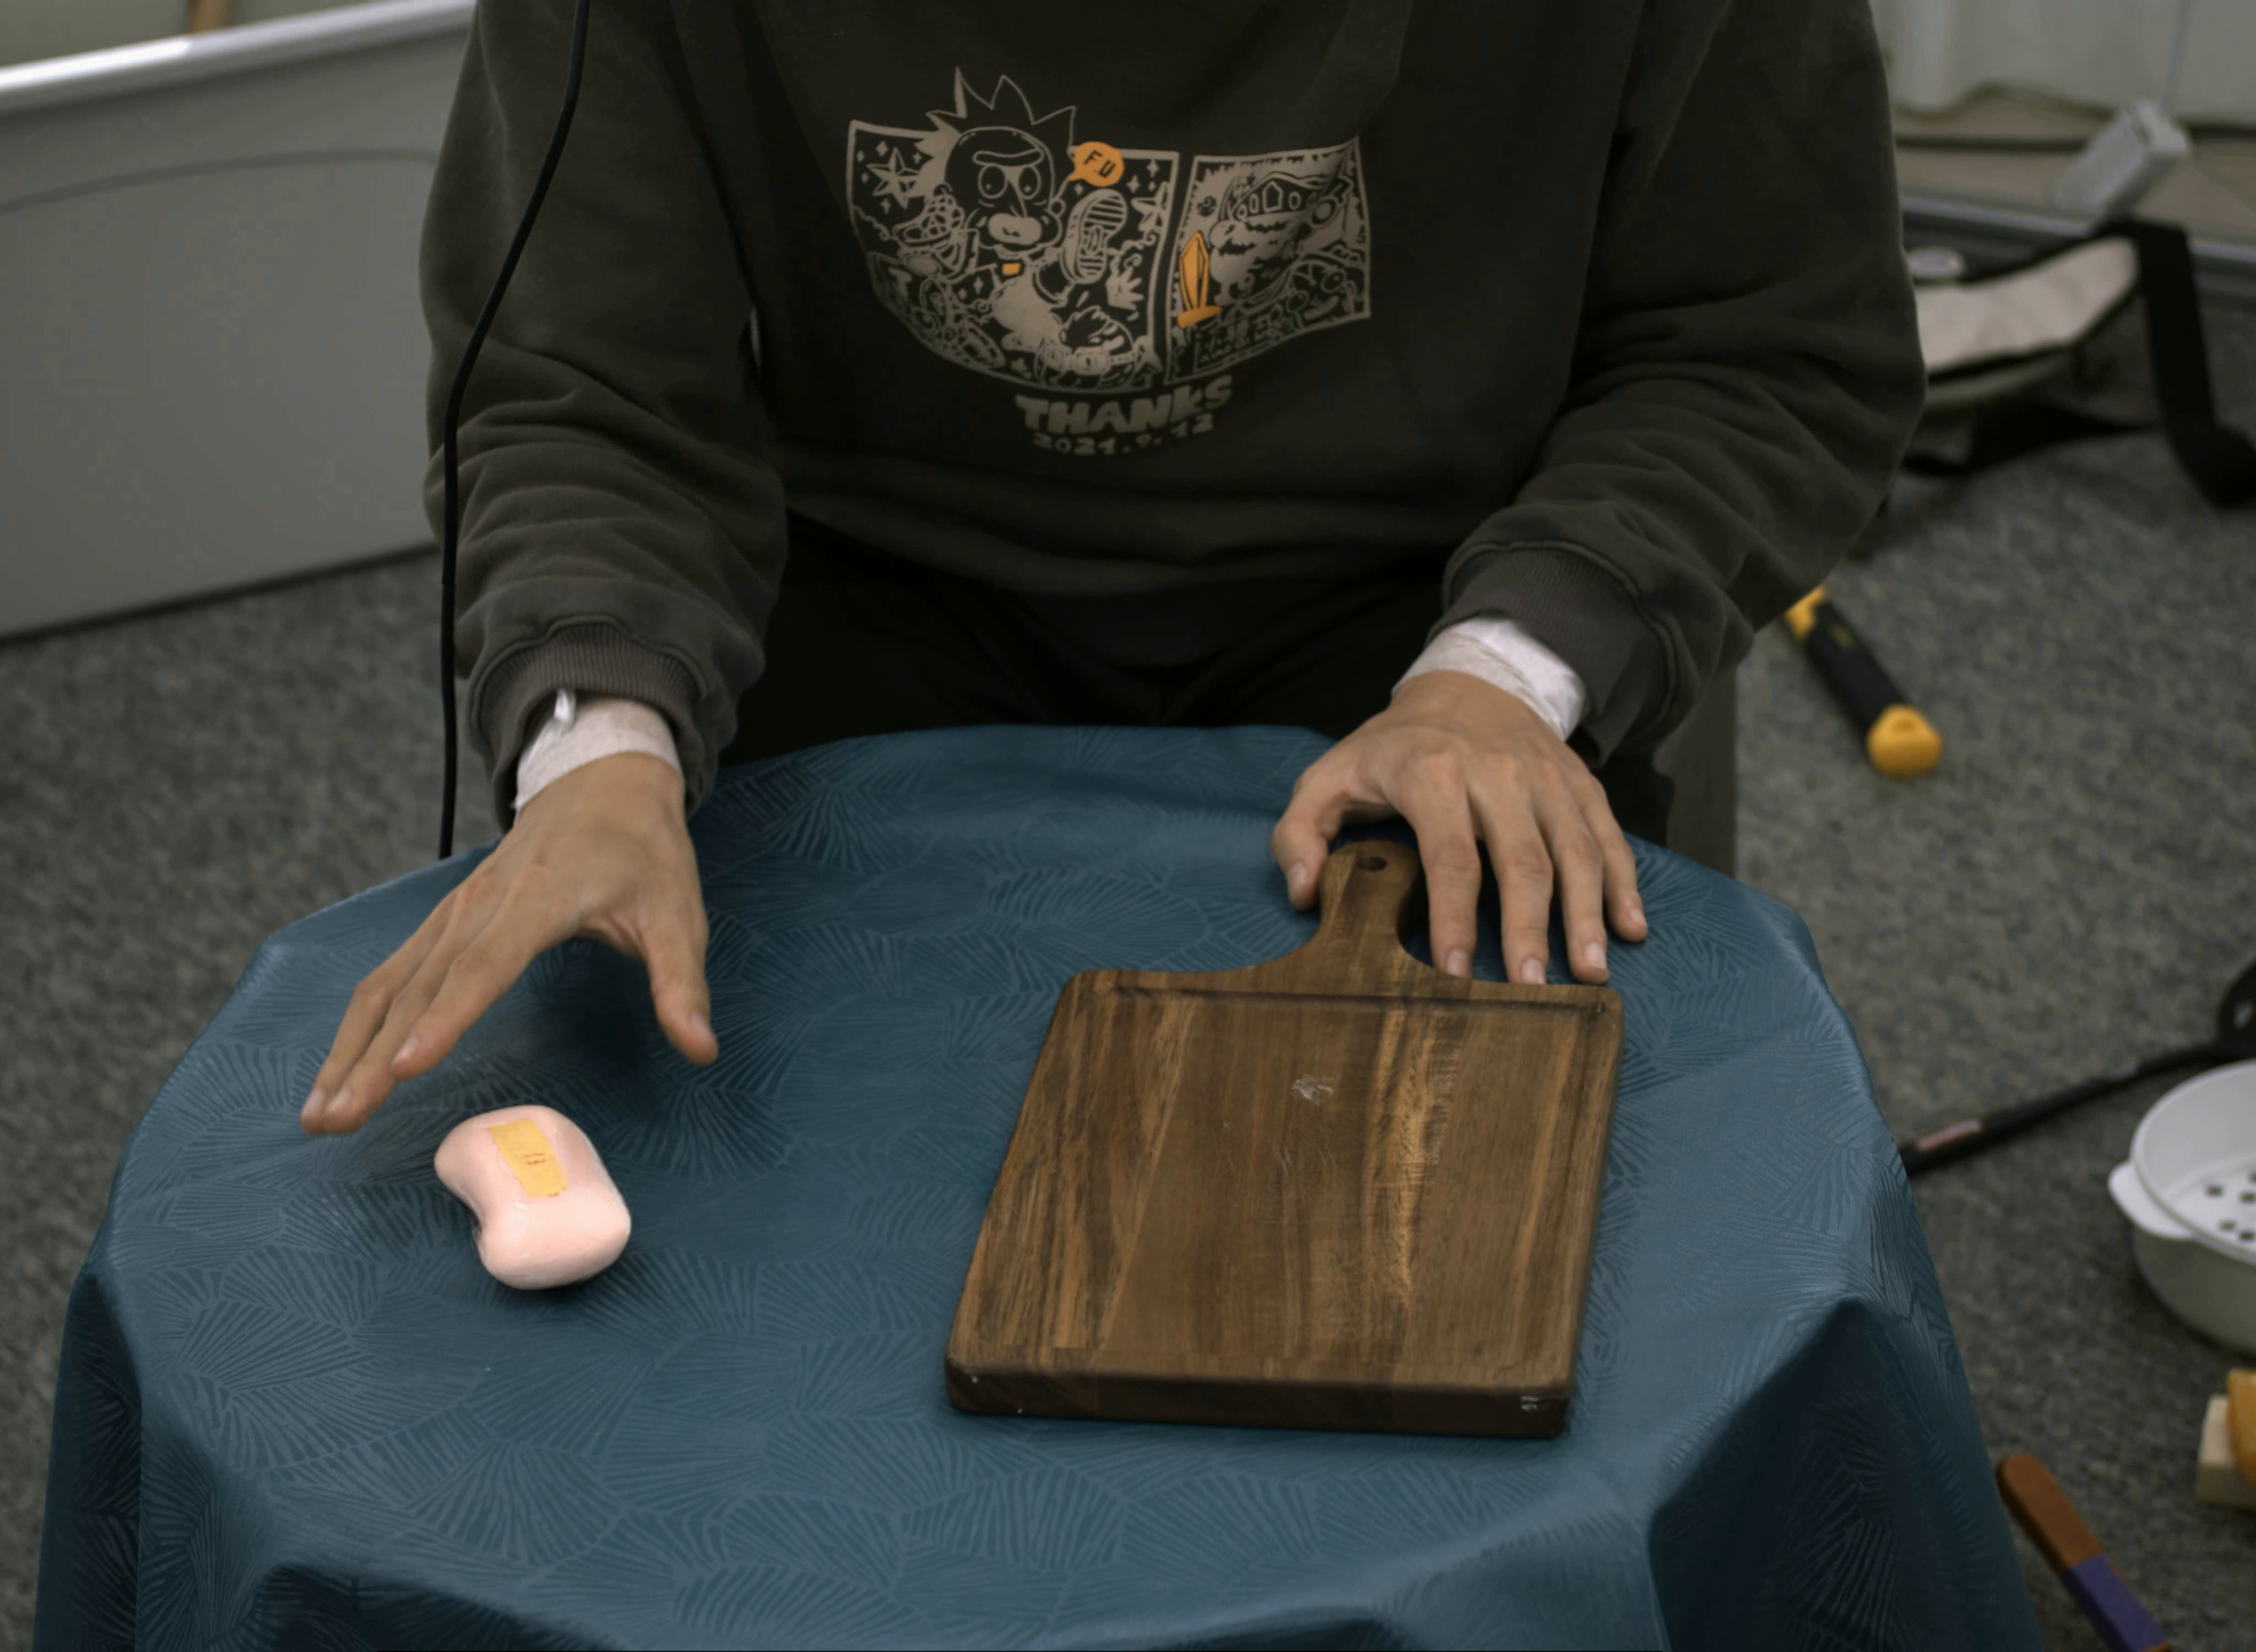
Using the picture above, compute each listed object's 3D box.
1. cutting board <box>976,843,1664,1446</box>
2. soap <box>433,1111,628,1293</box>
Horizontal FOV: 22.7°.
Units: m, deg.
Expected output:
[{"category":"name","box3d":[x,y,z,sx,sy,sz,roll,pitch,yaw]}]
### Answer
[{"category":"cutting board","box3d":[0.076,0.097,1.877,0.200,0.023,0.358,2,28,10]},{"category":"soap","box3d":[-0.197,0.124,1.846,0.050,0.030,0.095,-11,27,-16]}]
